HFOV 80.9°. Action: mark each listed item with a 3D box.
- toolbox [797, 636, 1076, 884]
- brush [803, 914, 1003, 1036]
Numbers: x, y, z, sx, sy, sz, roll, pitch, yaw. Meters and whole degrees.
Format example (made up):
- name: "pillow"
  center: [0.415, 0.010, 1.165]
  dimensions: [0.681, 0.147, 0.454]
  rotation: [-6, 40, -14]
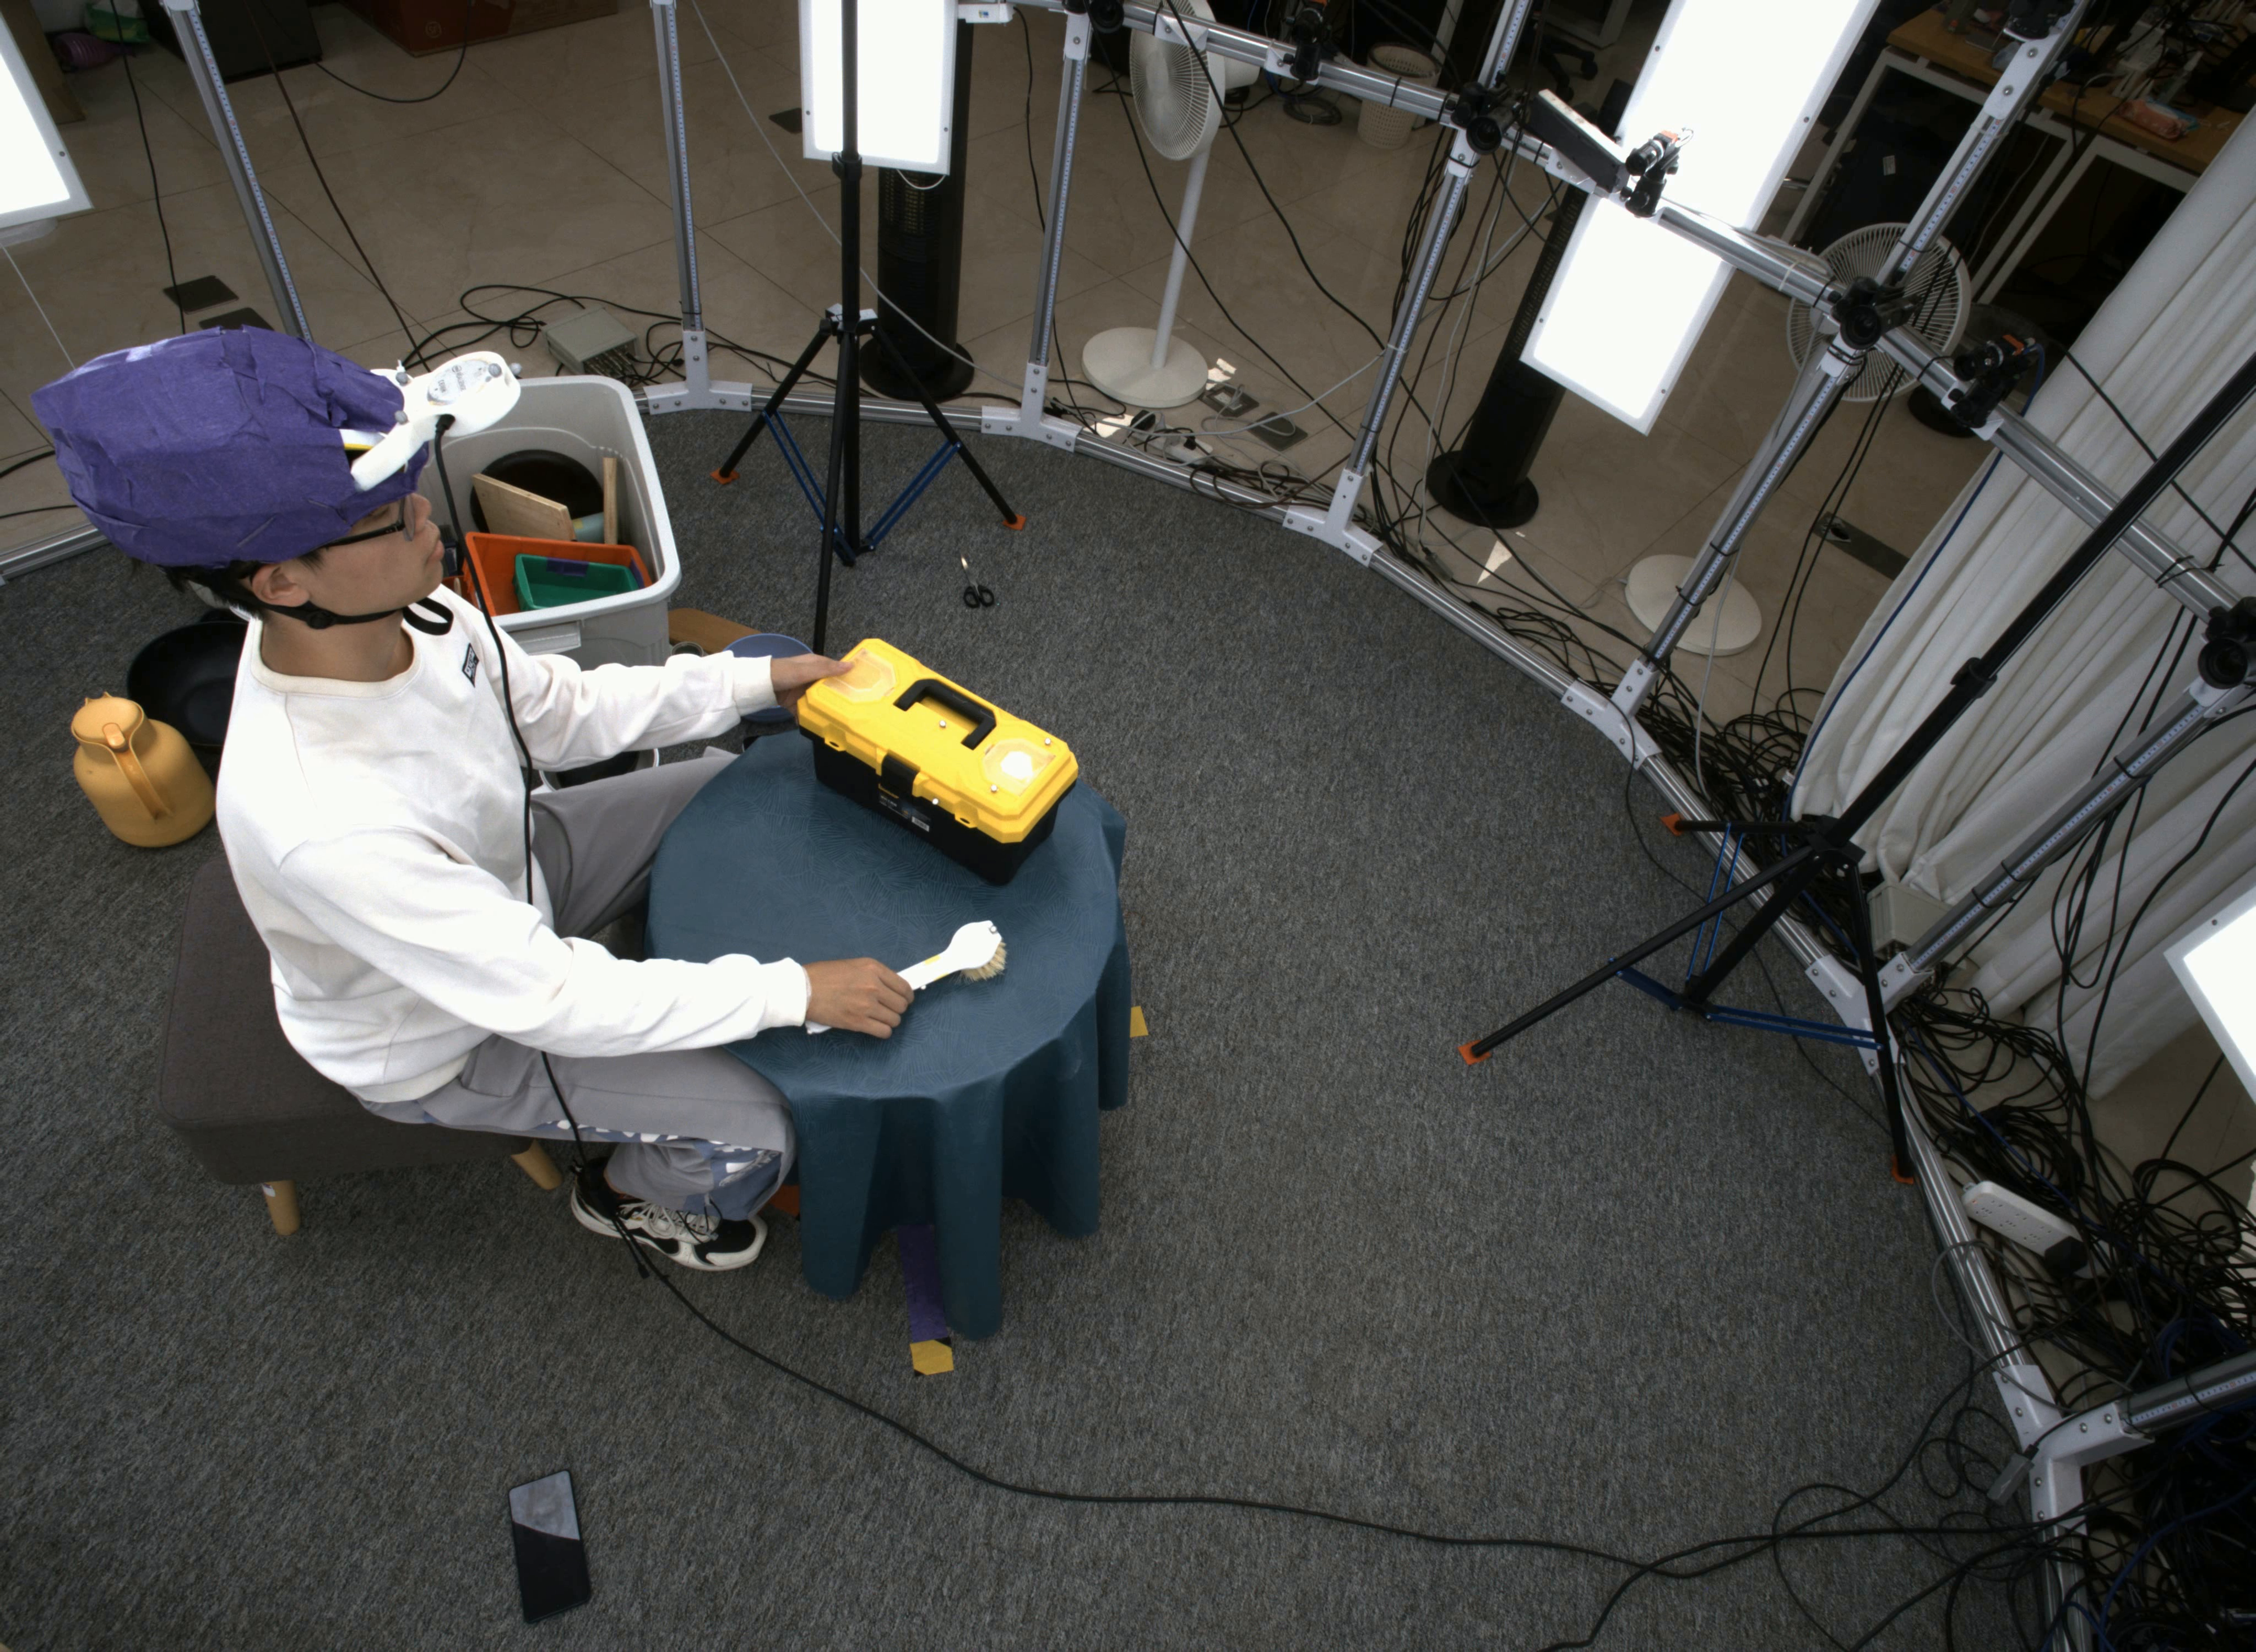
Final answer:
- name: "toolbox"
  center: [-0.256, -0.084, 1.726]
  dimensions: [0.345, 0.176, 0.181]
  rotation: [29, 52, 11]
- name: "brush"
  center: [-0.275, 0.195, 1.611]
  dimensions: [0.266, 0.058, 0.066]
  rotation: [-30, 47, -16]
